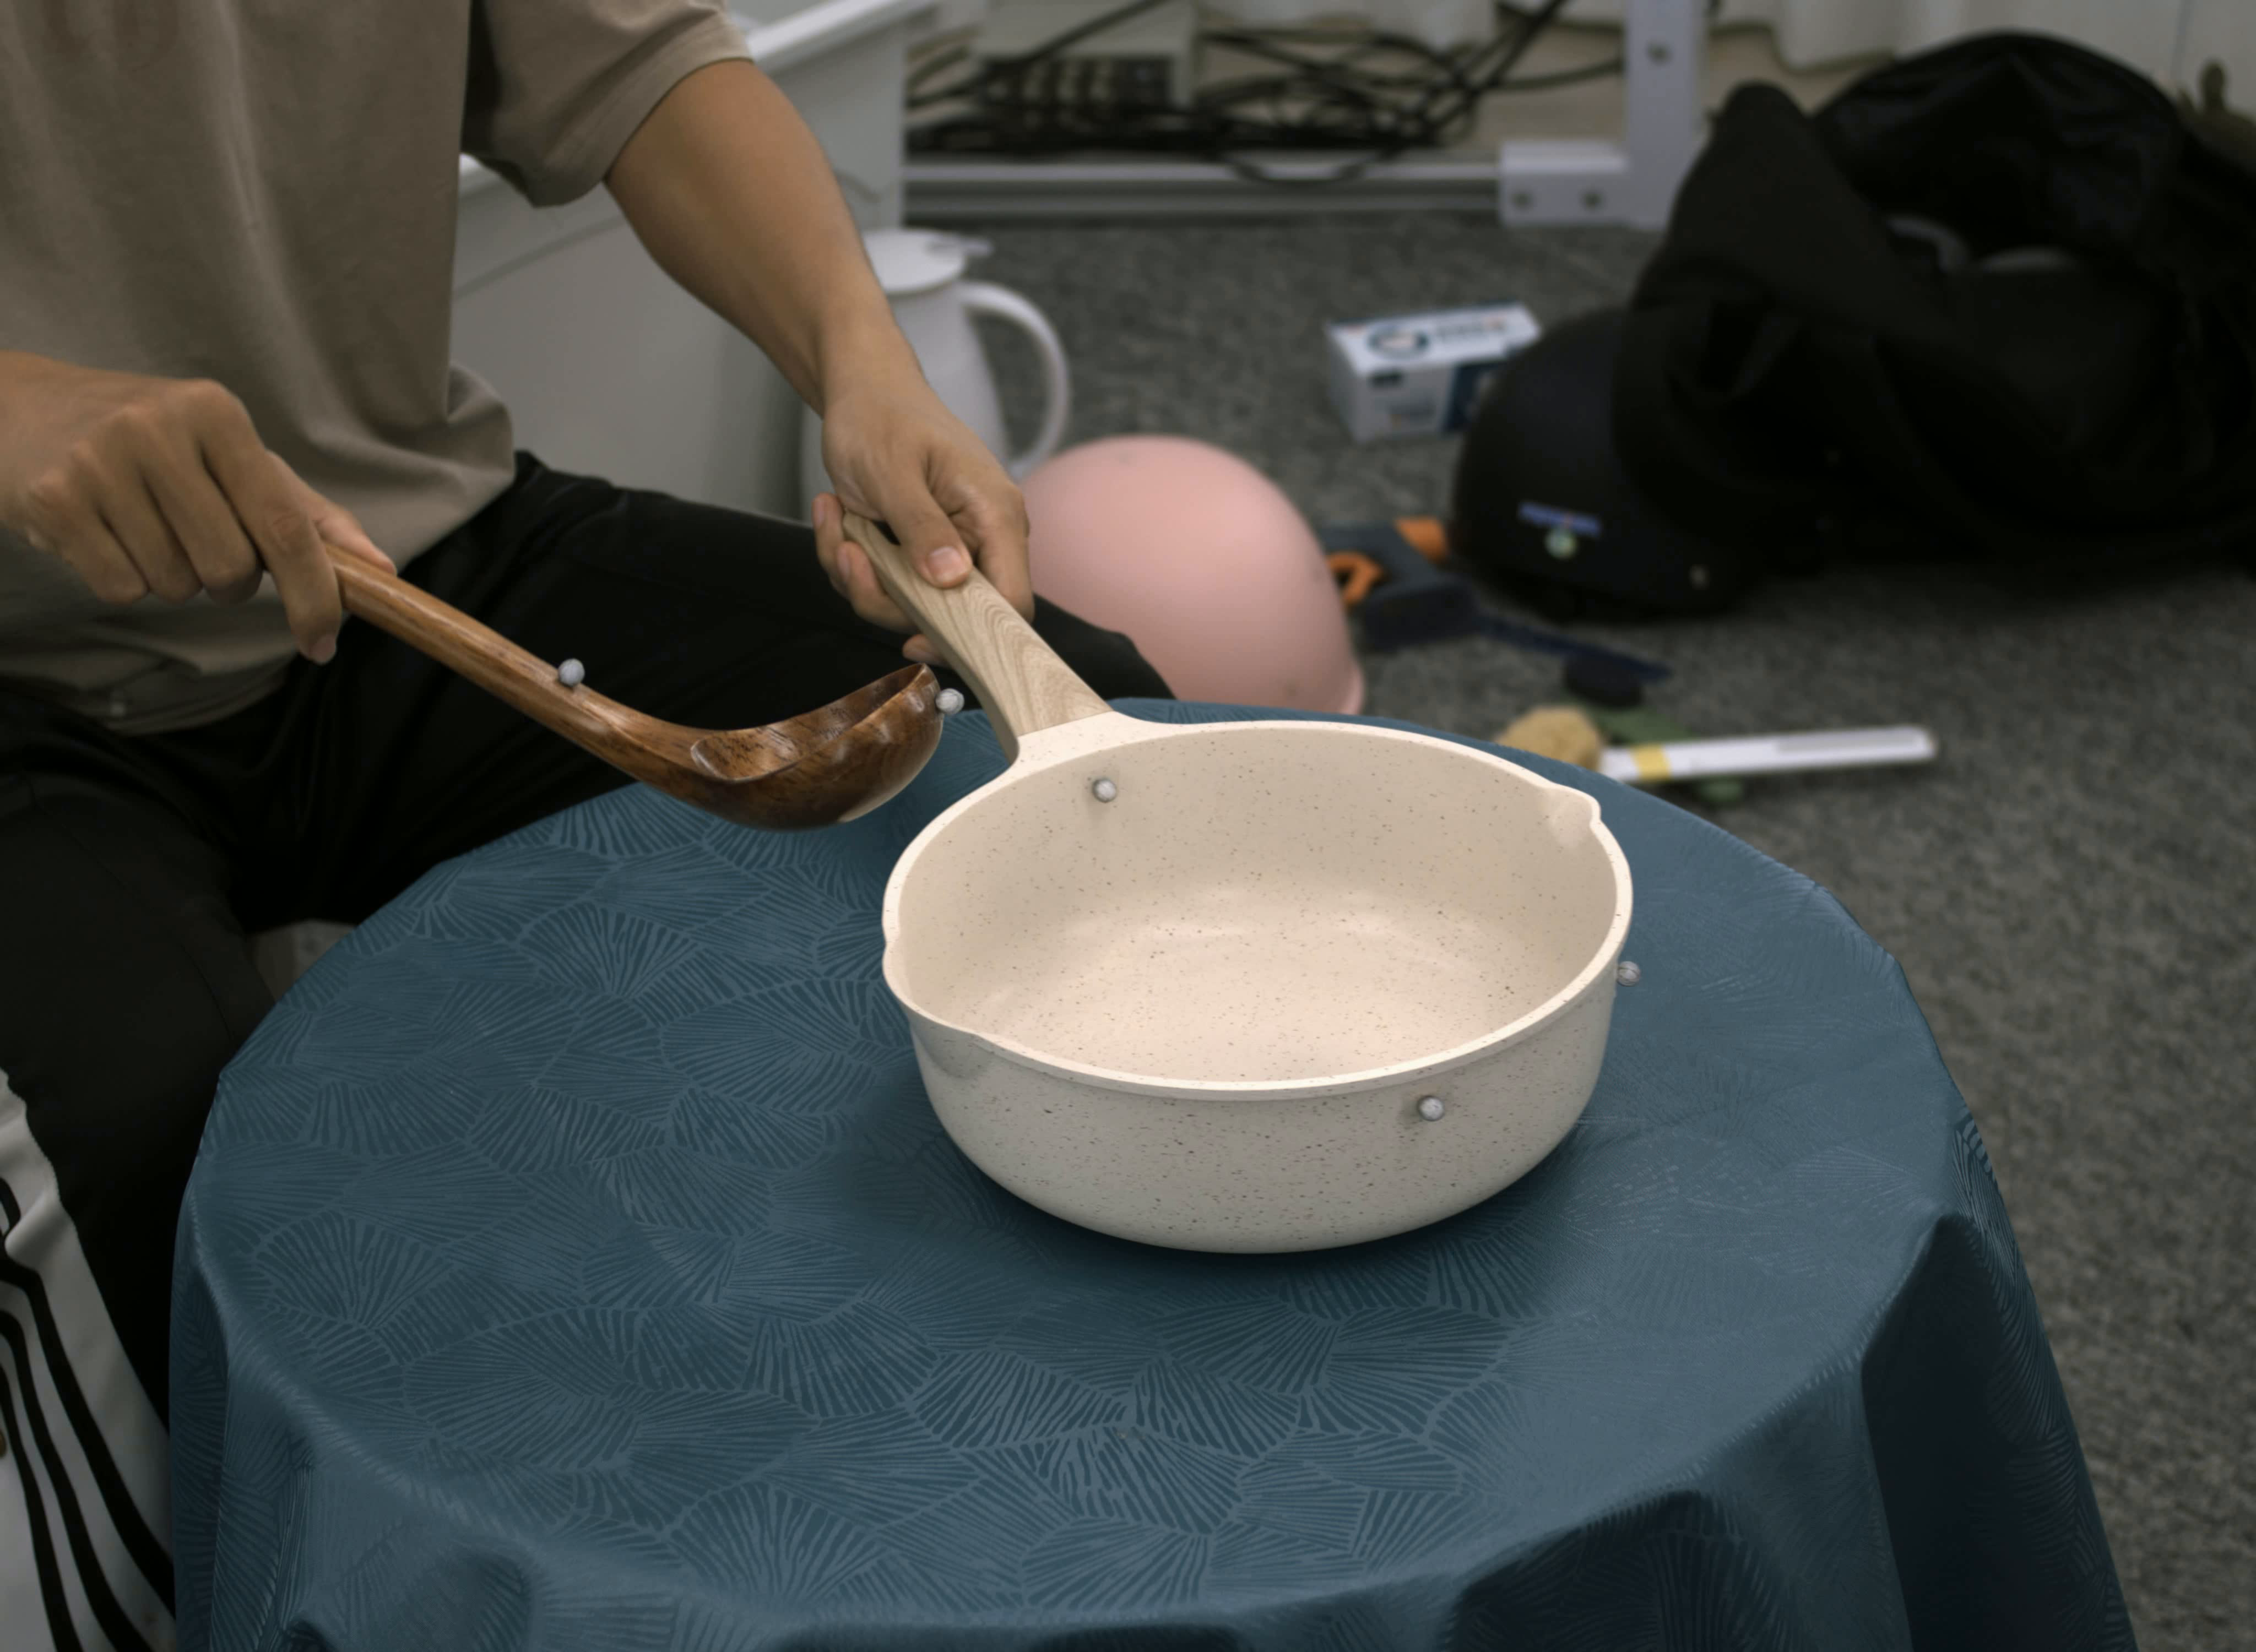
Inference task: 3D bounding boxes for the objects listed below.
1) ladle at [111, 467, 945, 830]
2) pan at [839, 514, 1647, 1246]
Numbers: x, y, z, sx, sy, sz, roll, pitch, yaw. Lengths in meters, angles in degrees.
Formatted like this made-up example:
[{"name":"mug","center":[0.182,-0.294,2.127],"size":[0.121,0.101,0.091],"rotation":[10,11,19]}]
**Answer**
[{"name":"ladle","center":[-0.188,-0.074,1.772],"size":[0.273,0.076,0.082],"rotation":[27,15,5]},{"name":"pan","center":[0.007,0.012,1.965],"size":[0.265,0.101,0.437],"rotation":[-17,31,-23]}]
